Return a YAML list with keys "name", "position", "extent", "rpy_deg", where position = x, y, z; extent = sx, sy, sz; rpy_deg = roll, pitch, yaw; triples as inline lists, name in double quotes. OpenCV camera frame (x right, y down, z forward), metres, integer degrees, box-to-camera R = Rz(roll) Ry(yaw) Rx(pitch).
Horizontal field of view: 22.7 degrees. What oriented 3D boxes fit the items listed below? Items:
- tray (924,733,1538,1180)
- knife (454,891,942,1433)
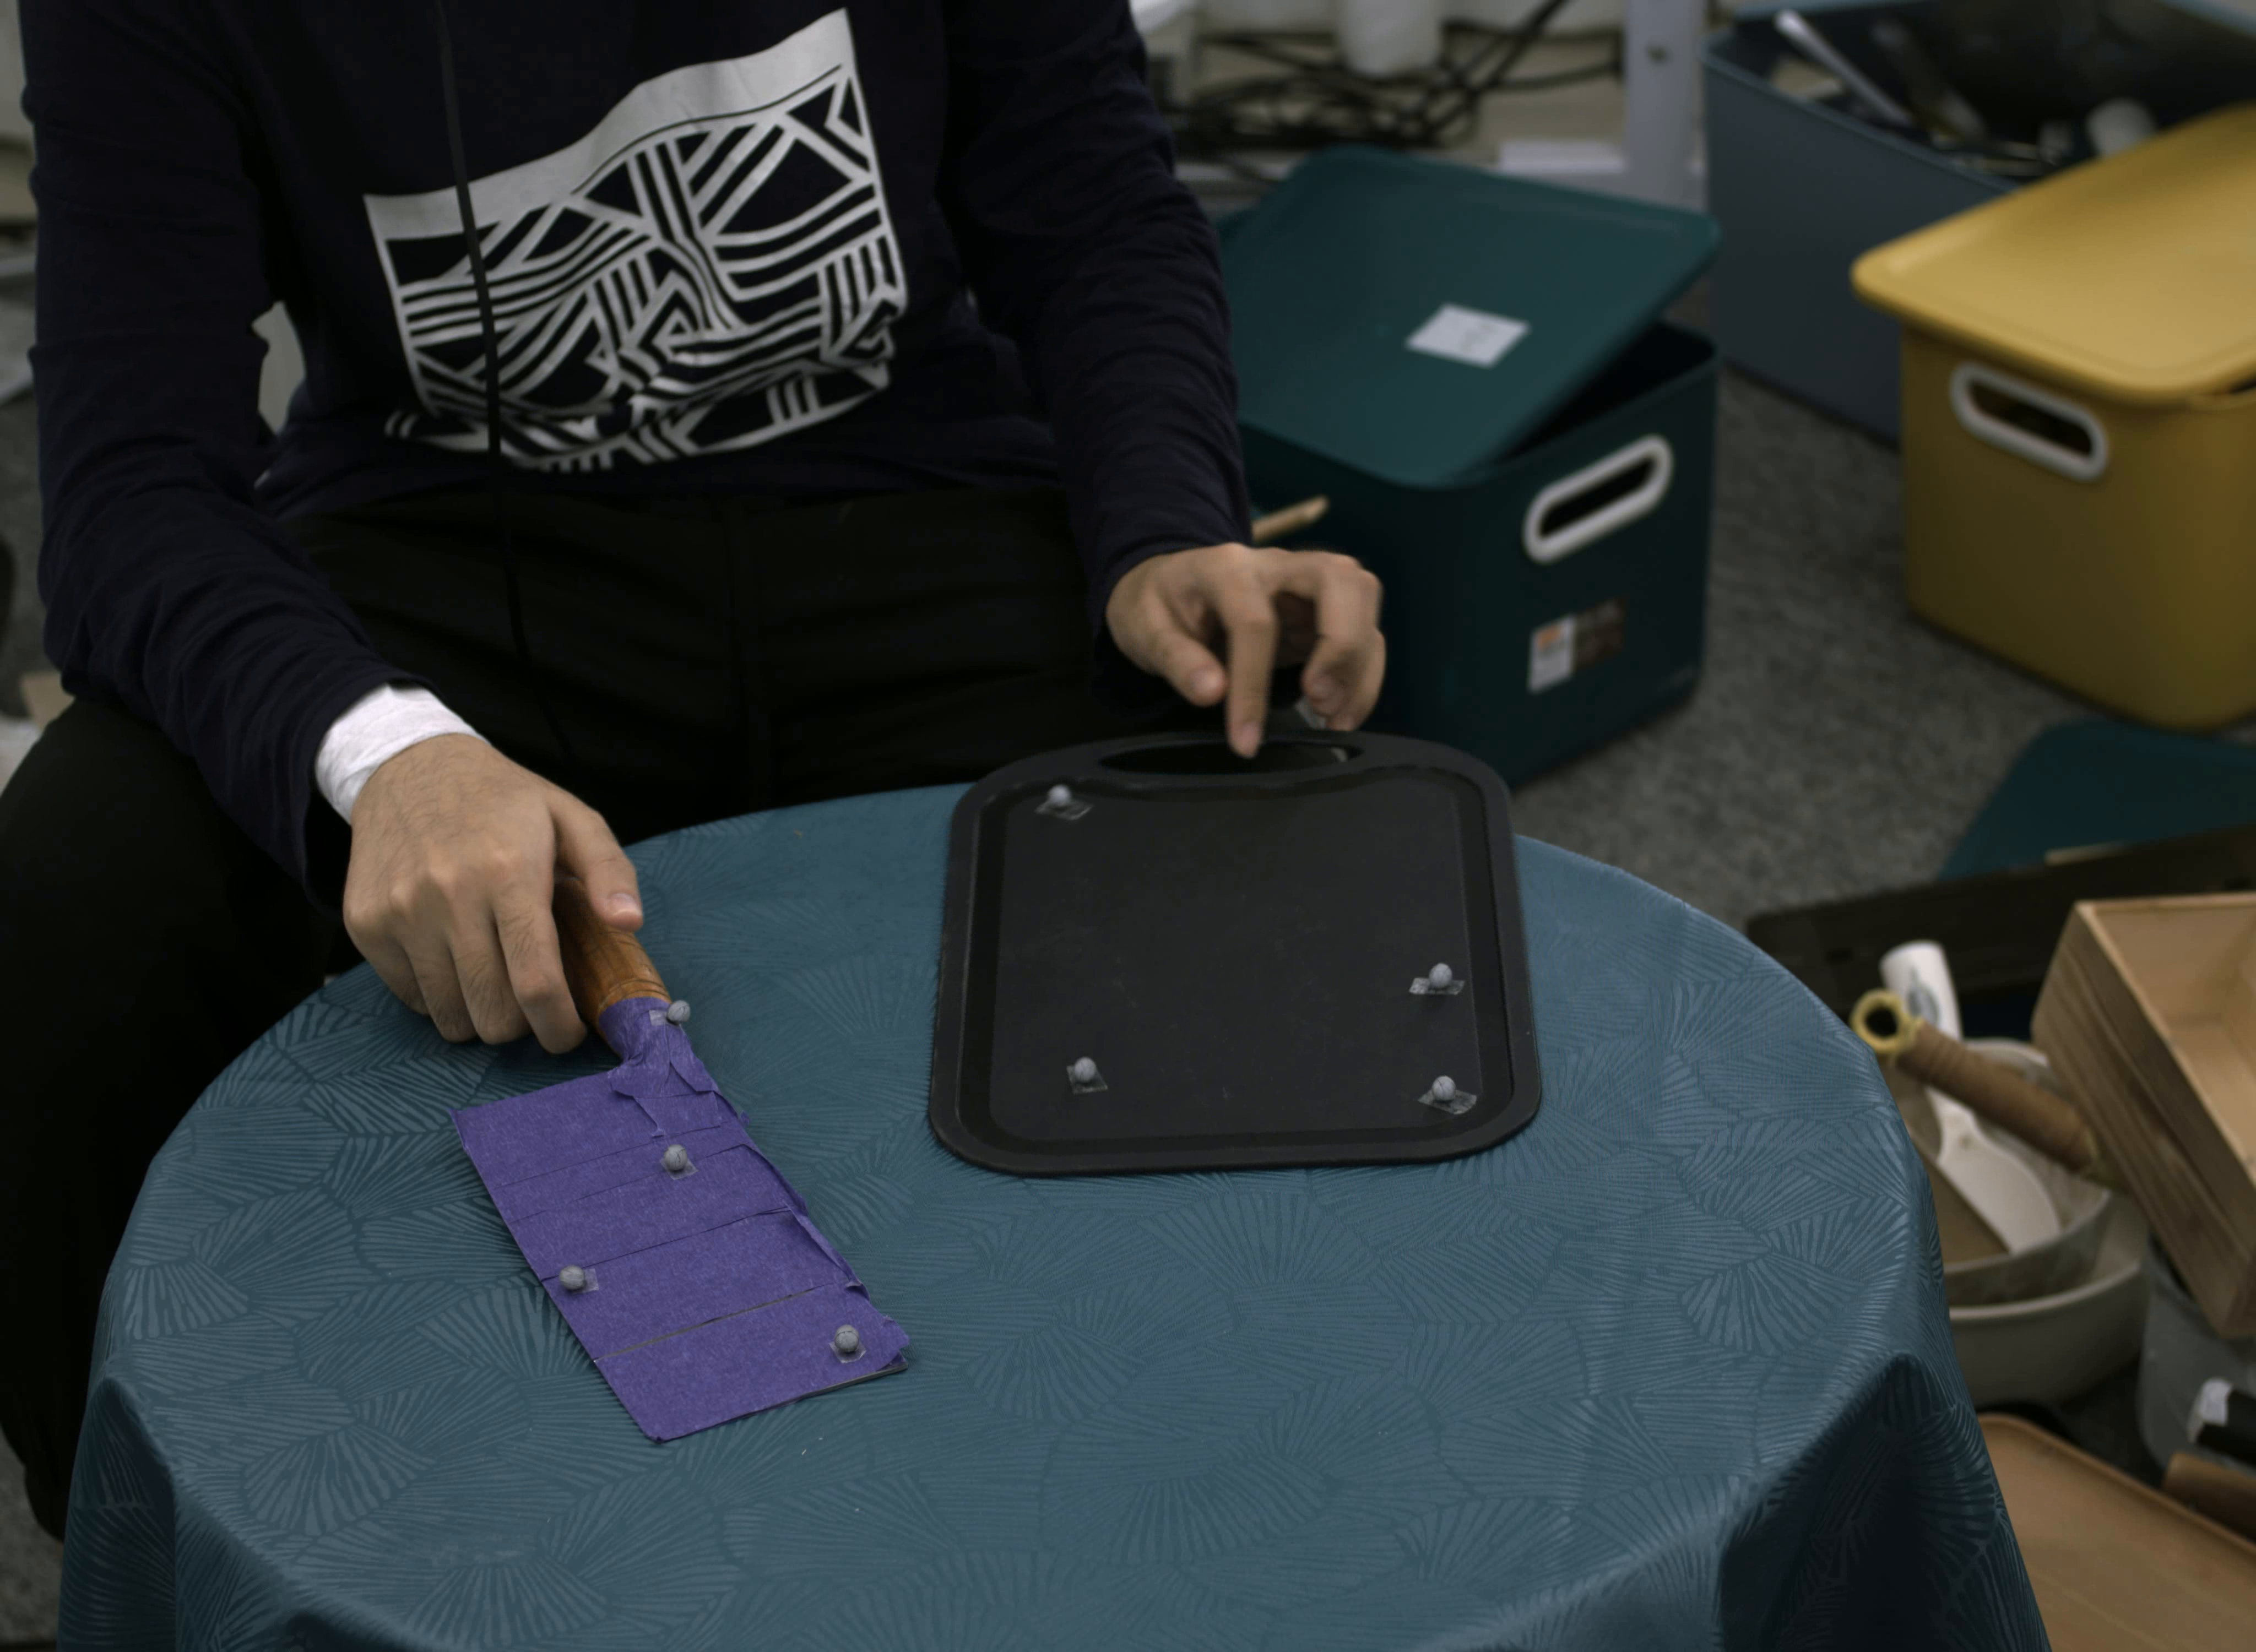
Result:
- name: "tray"
  position: [0.035, 0.039, 2.012]
  extent: [0.210, 0.009, 0.330]
  rpy_deg: [-2, 27, 1]
- name: "knife"
  position: [-0.169, 0.108, 1.875]
  extent: [0.104, 0.032, 0.317]
  rpy_deg: [-14, 30, -21]
